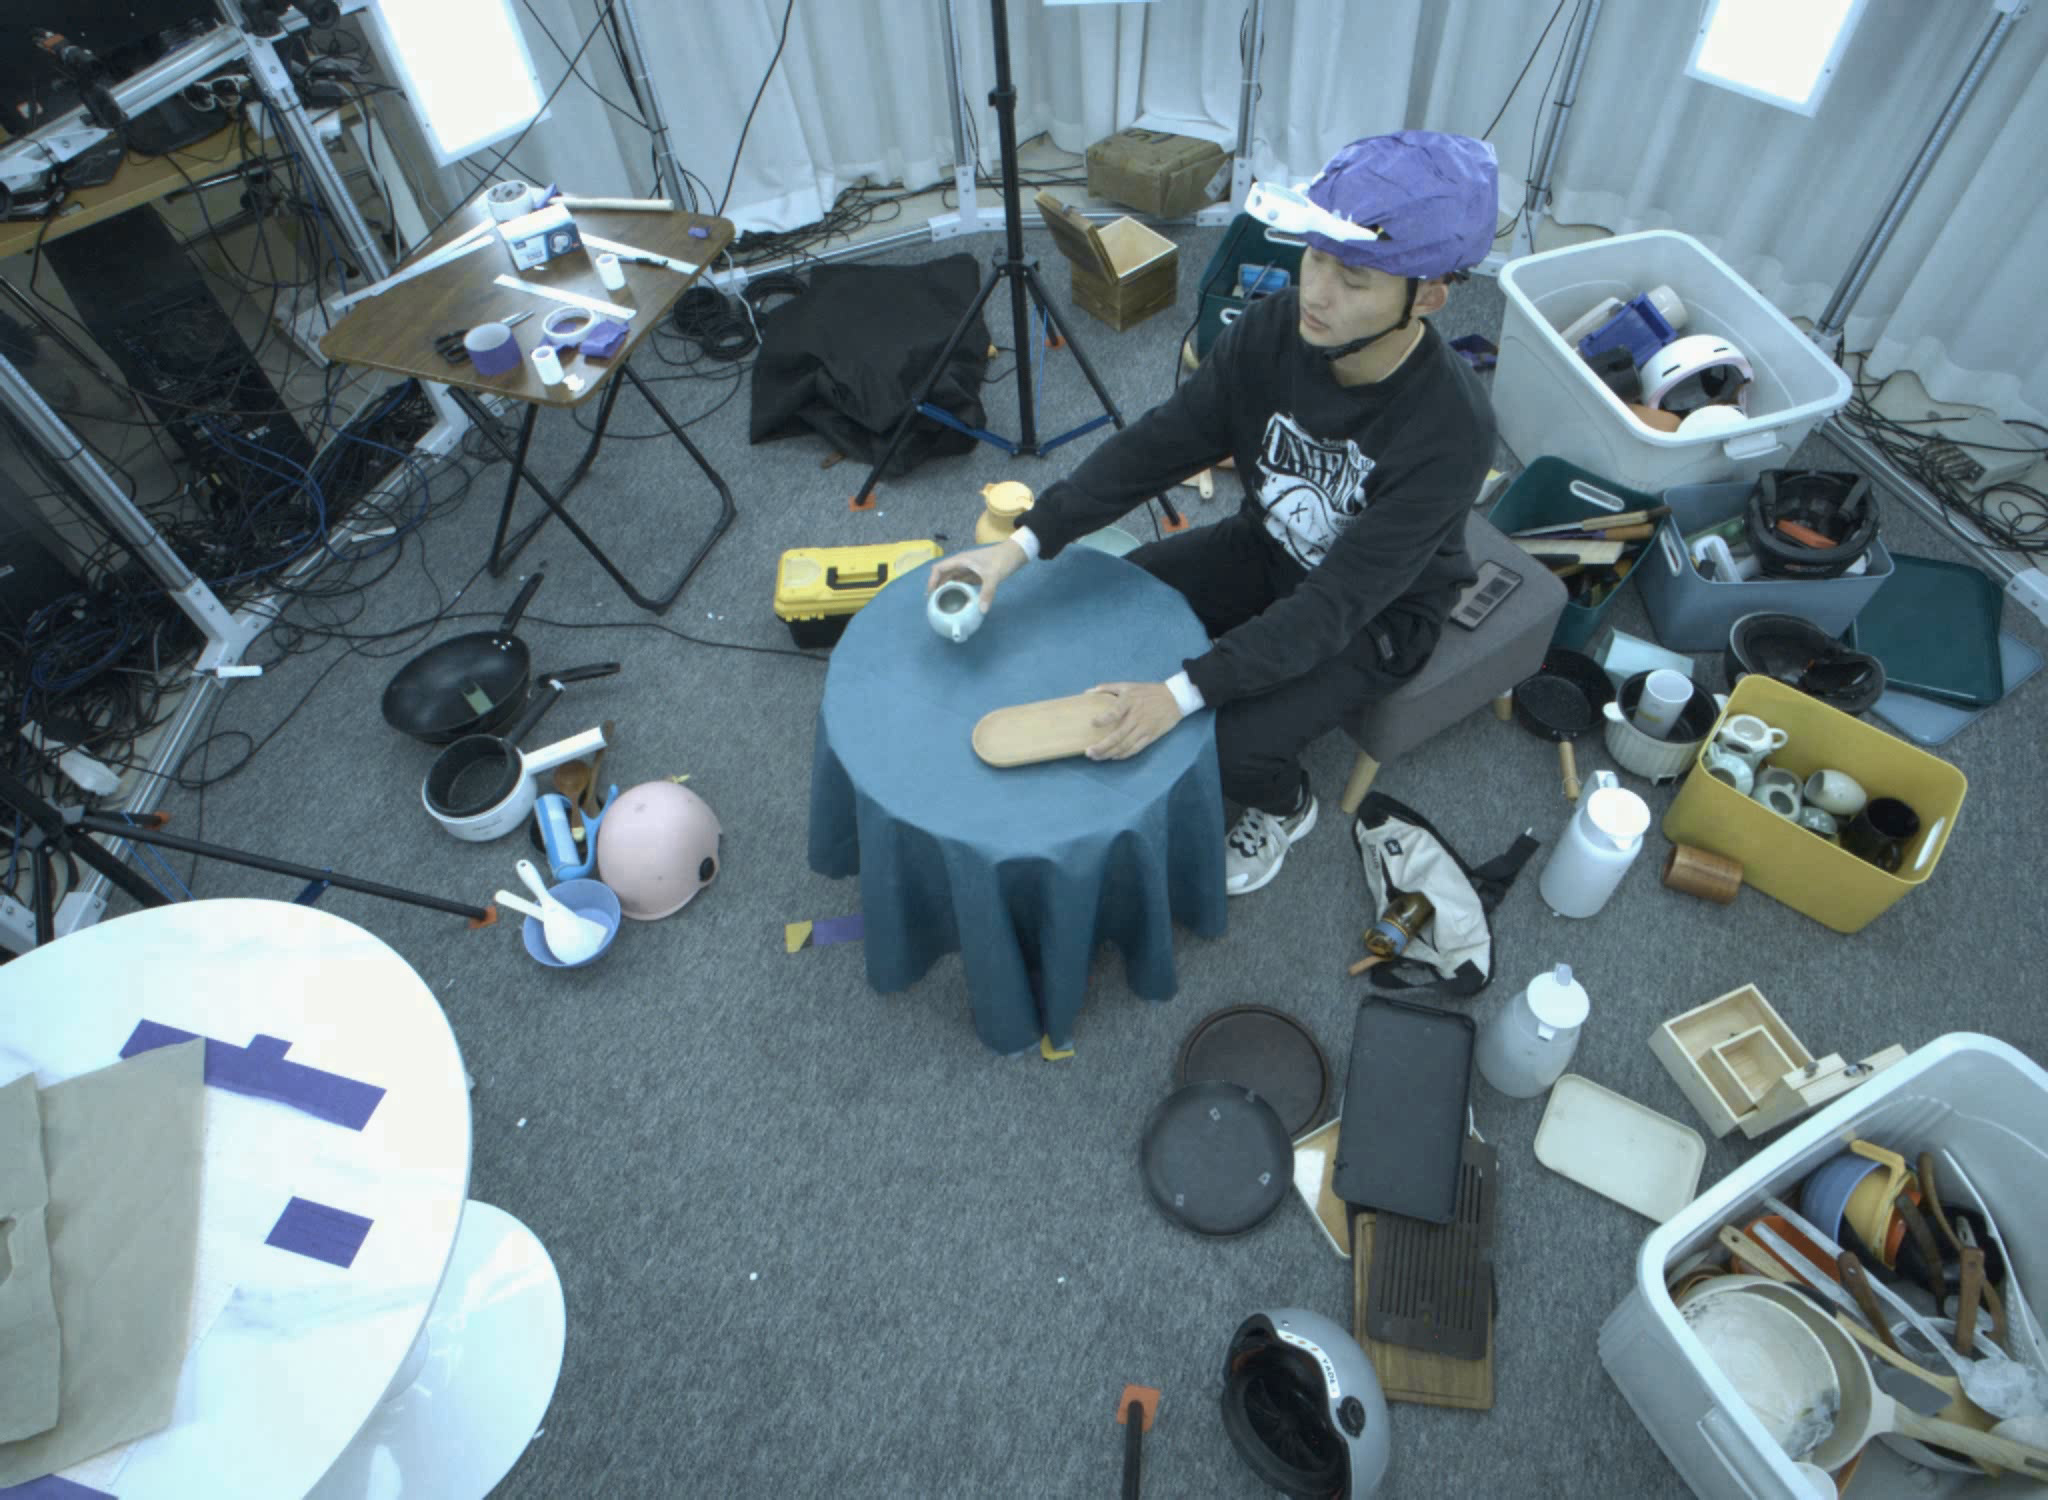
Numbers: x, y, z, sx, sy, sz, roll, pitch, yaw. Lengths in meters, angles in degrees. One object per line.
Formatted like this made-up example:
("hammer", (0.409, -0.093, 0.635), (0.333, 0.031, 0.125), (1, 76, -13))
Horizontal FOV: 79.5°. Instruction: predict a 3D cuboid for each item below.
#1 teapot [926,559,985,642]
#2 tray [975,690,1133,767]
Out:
("teapot", (-0.104, -0.213, 1.845), (0.088, 0.075, 0.142), (-10, 67, 4))
("tray", (0.043, -0.030, 1.781), (0.231, 0.020, 0.100), (-9, 56, 0))
